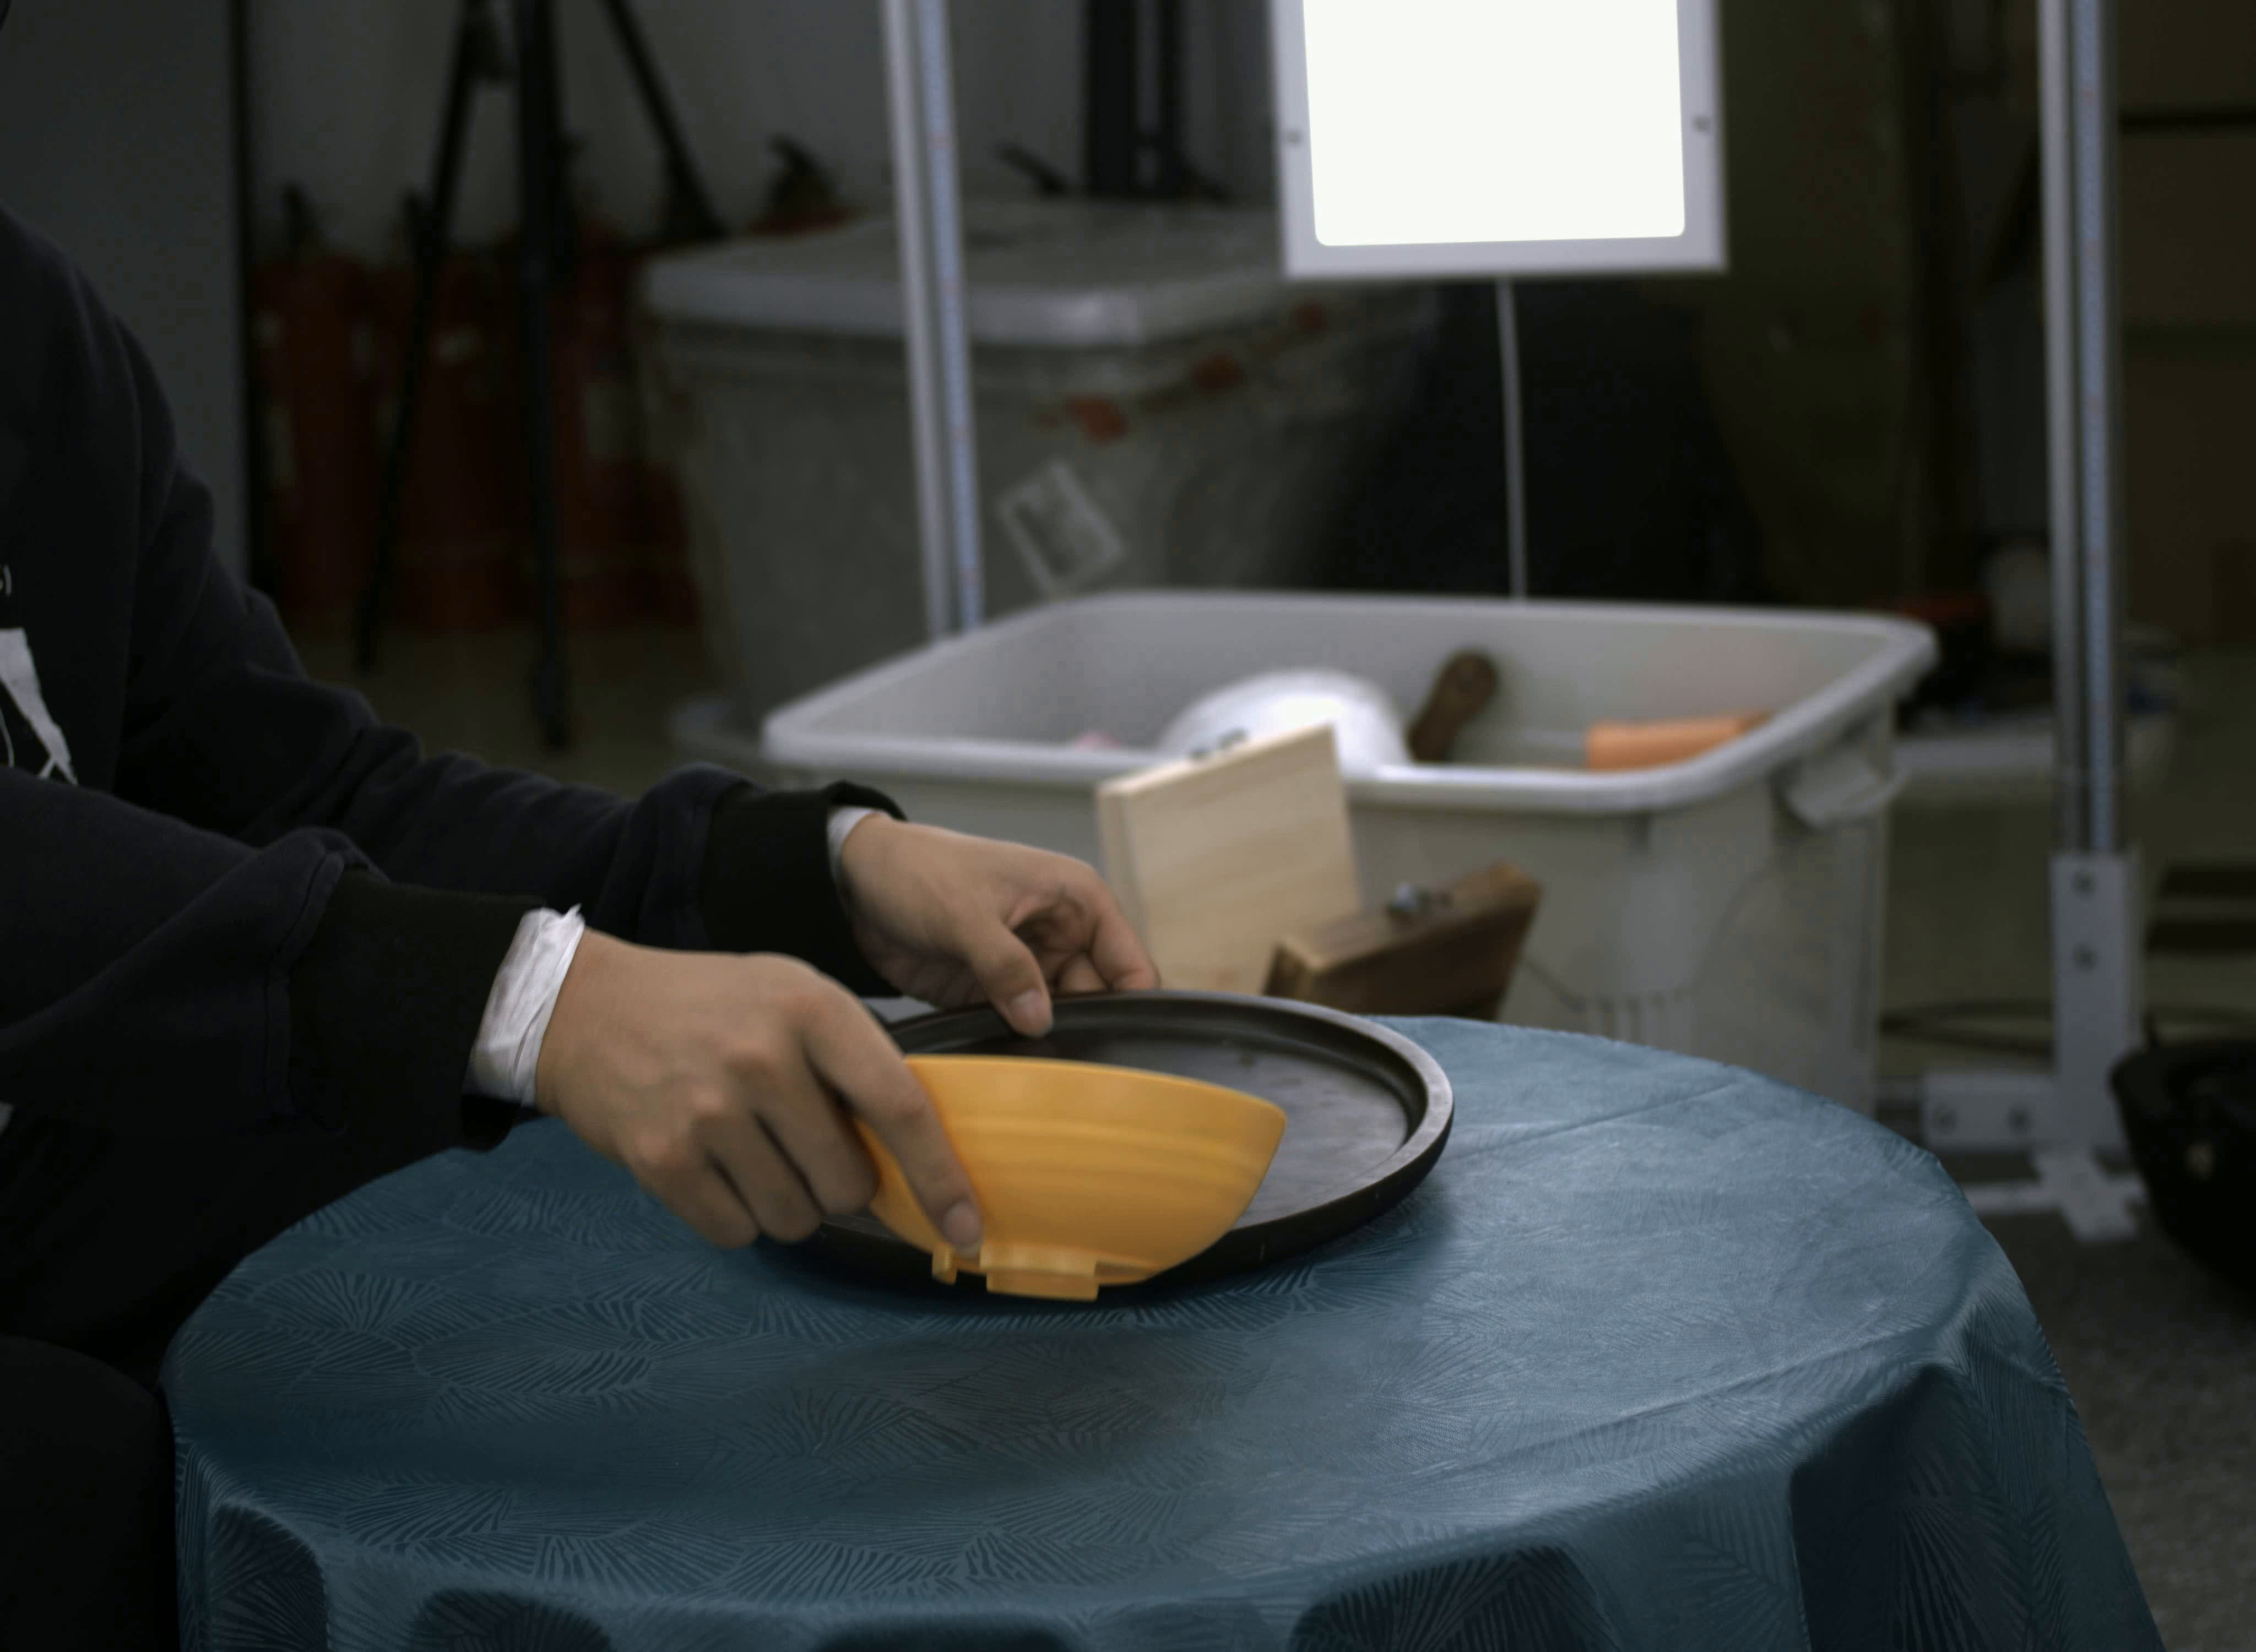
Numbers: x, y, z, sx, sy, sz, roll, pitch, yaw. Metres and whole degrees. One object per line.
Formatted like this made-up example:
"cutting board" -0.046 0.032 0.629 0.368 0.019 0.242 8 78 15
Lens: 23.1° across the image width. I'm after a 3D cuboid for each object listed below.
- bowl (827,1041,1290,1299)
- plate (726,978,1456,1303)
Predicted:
"bowl" -0.025 0.110 1.691 0.145 0.060 0.146 8 -12 0
"plate" -0.012 0.108 1.900 0.254 0.029 0.254 -6 18 0
